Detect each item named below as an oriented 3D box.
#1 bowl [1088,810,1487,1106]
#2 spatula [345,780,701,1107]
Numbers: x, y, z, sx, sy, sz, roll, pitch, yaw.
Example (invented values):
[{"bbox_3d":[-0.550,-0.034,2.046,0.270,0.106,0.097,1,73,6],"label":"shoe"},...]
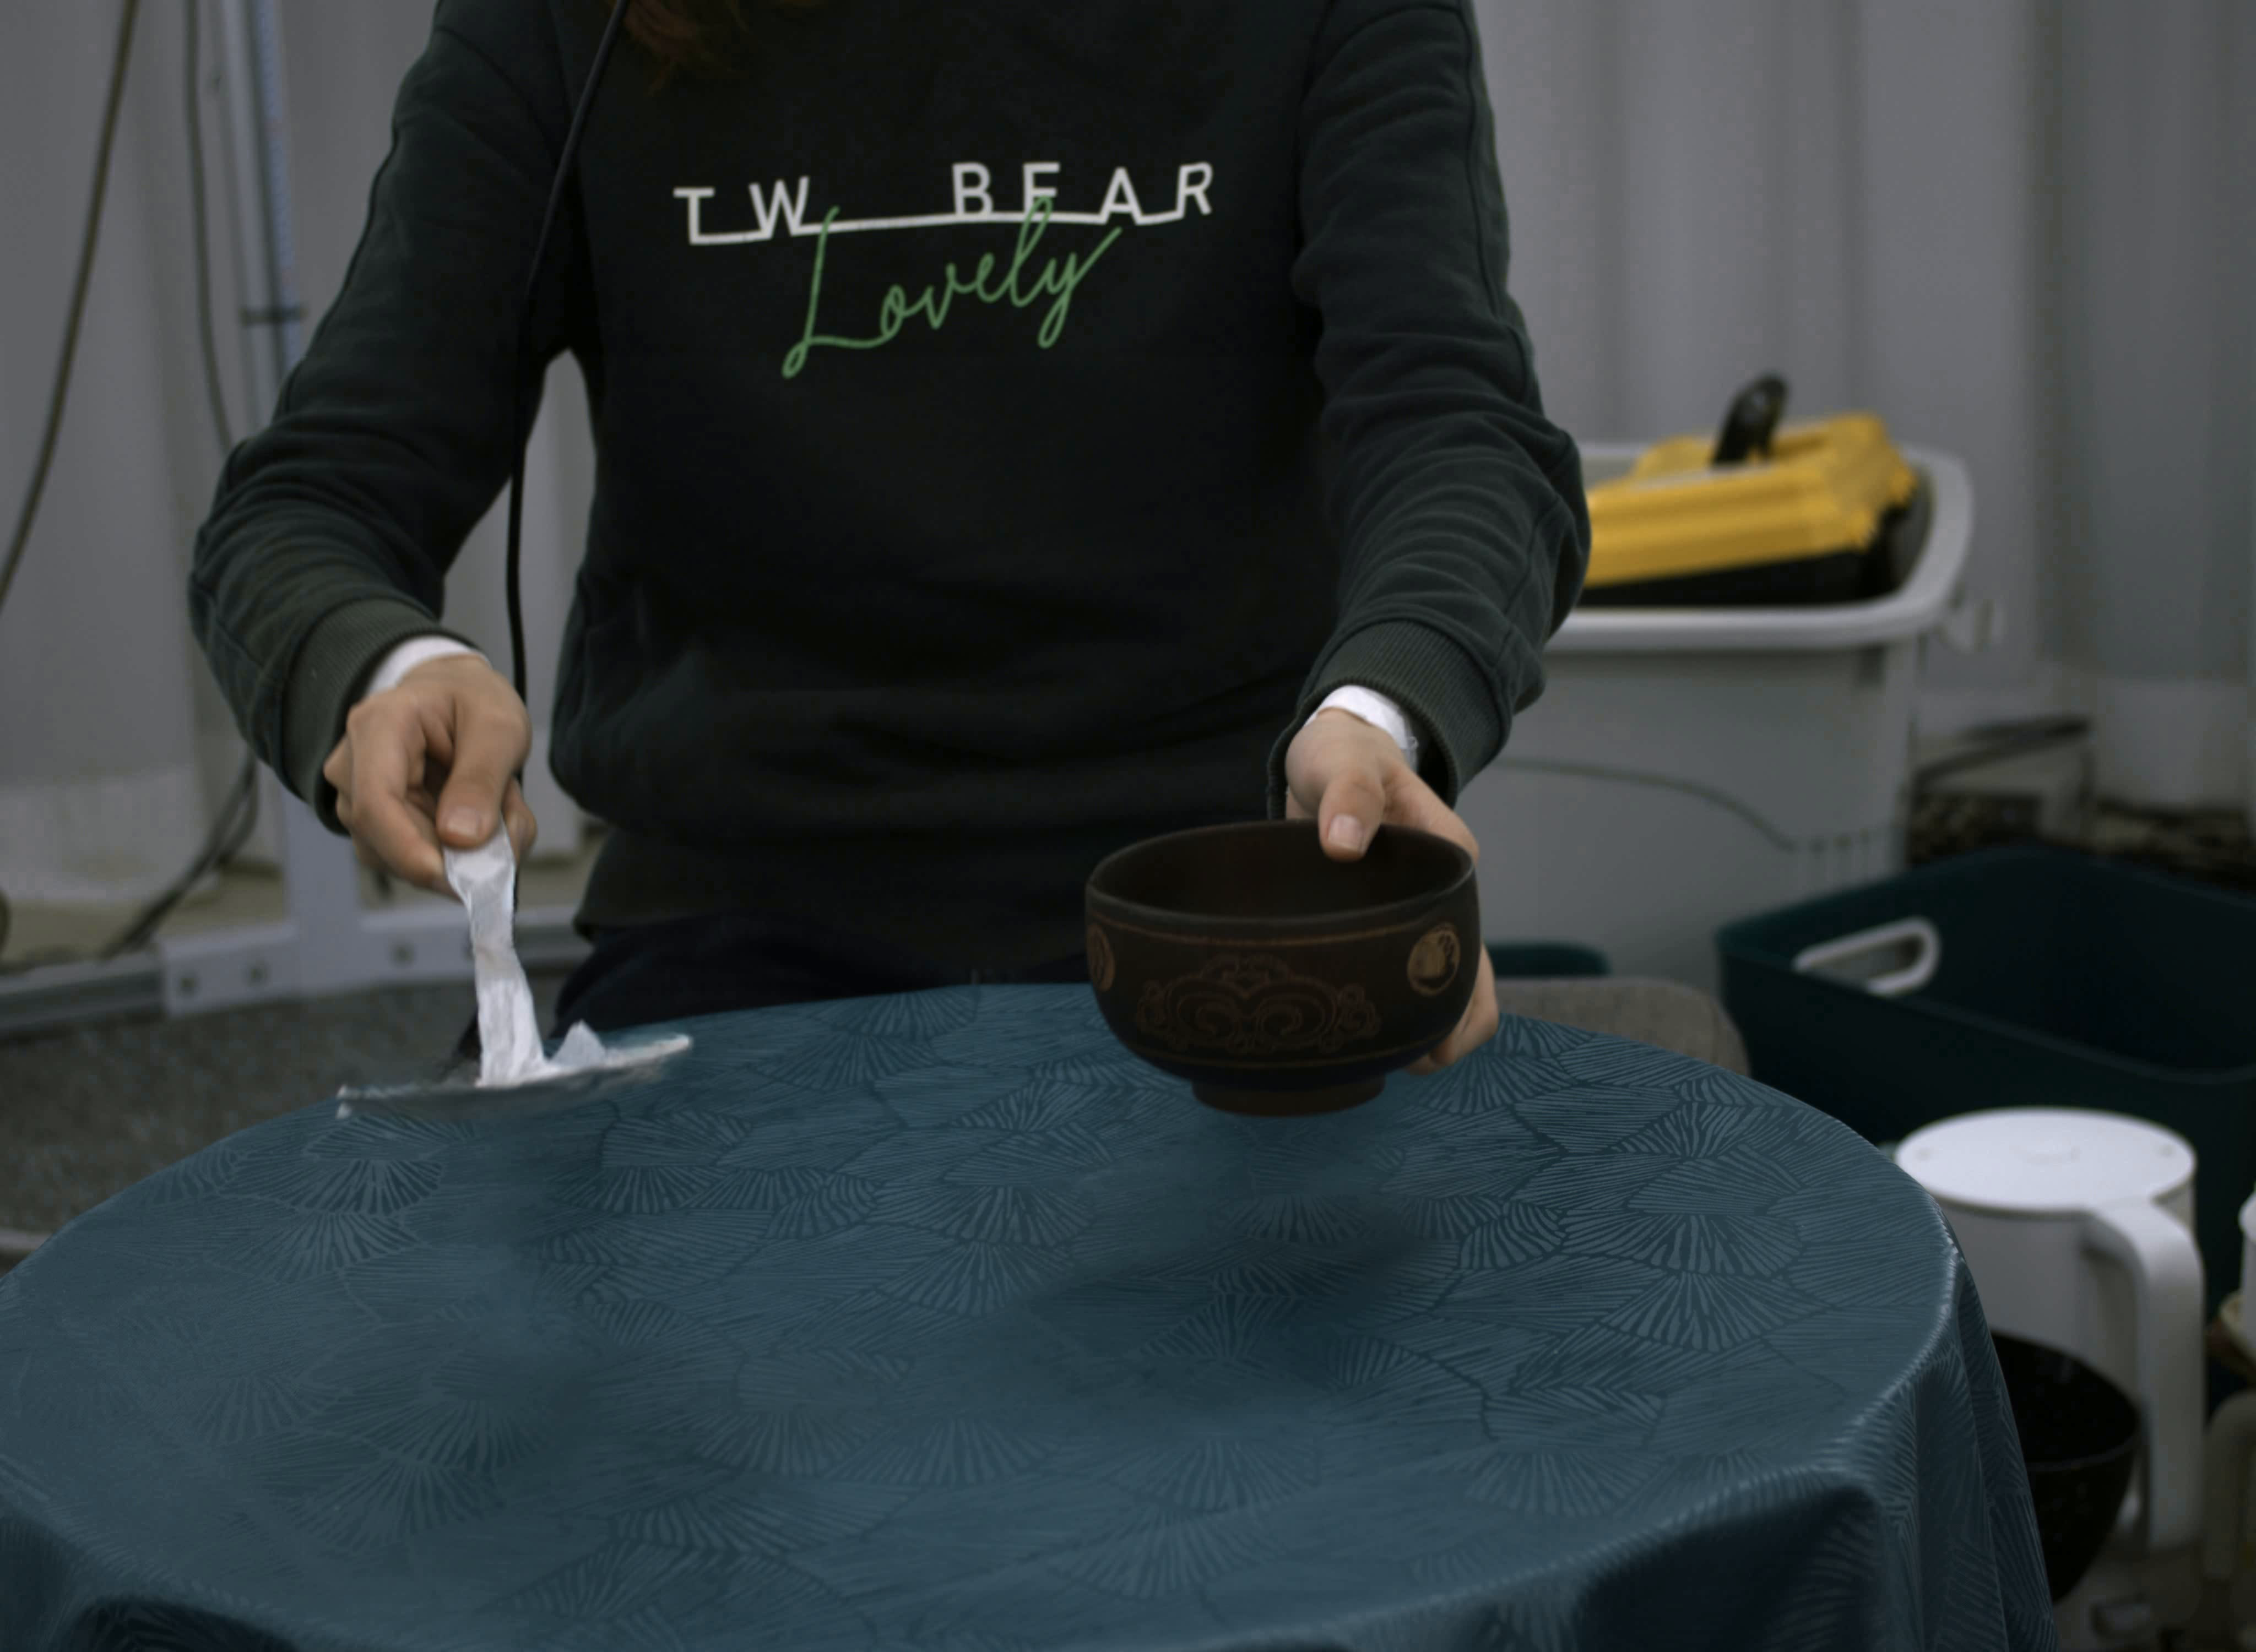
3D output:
[{"bbox_3d":[0.047,0.042,1.613,0.117,0.069,0.119,-1,13,0],"label":"bowl"},{"bbox_3d":[-0.186,0.026,1.639,0.098,0.044,0.368,-10,19,-6],"label":"spatula"}]
